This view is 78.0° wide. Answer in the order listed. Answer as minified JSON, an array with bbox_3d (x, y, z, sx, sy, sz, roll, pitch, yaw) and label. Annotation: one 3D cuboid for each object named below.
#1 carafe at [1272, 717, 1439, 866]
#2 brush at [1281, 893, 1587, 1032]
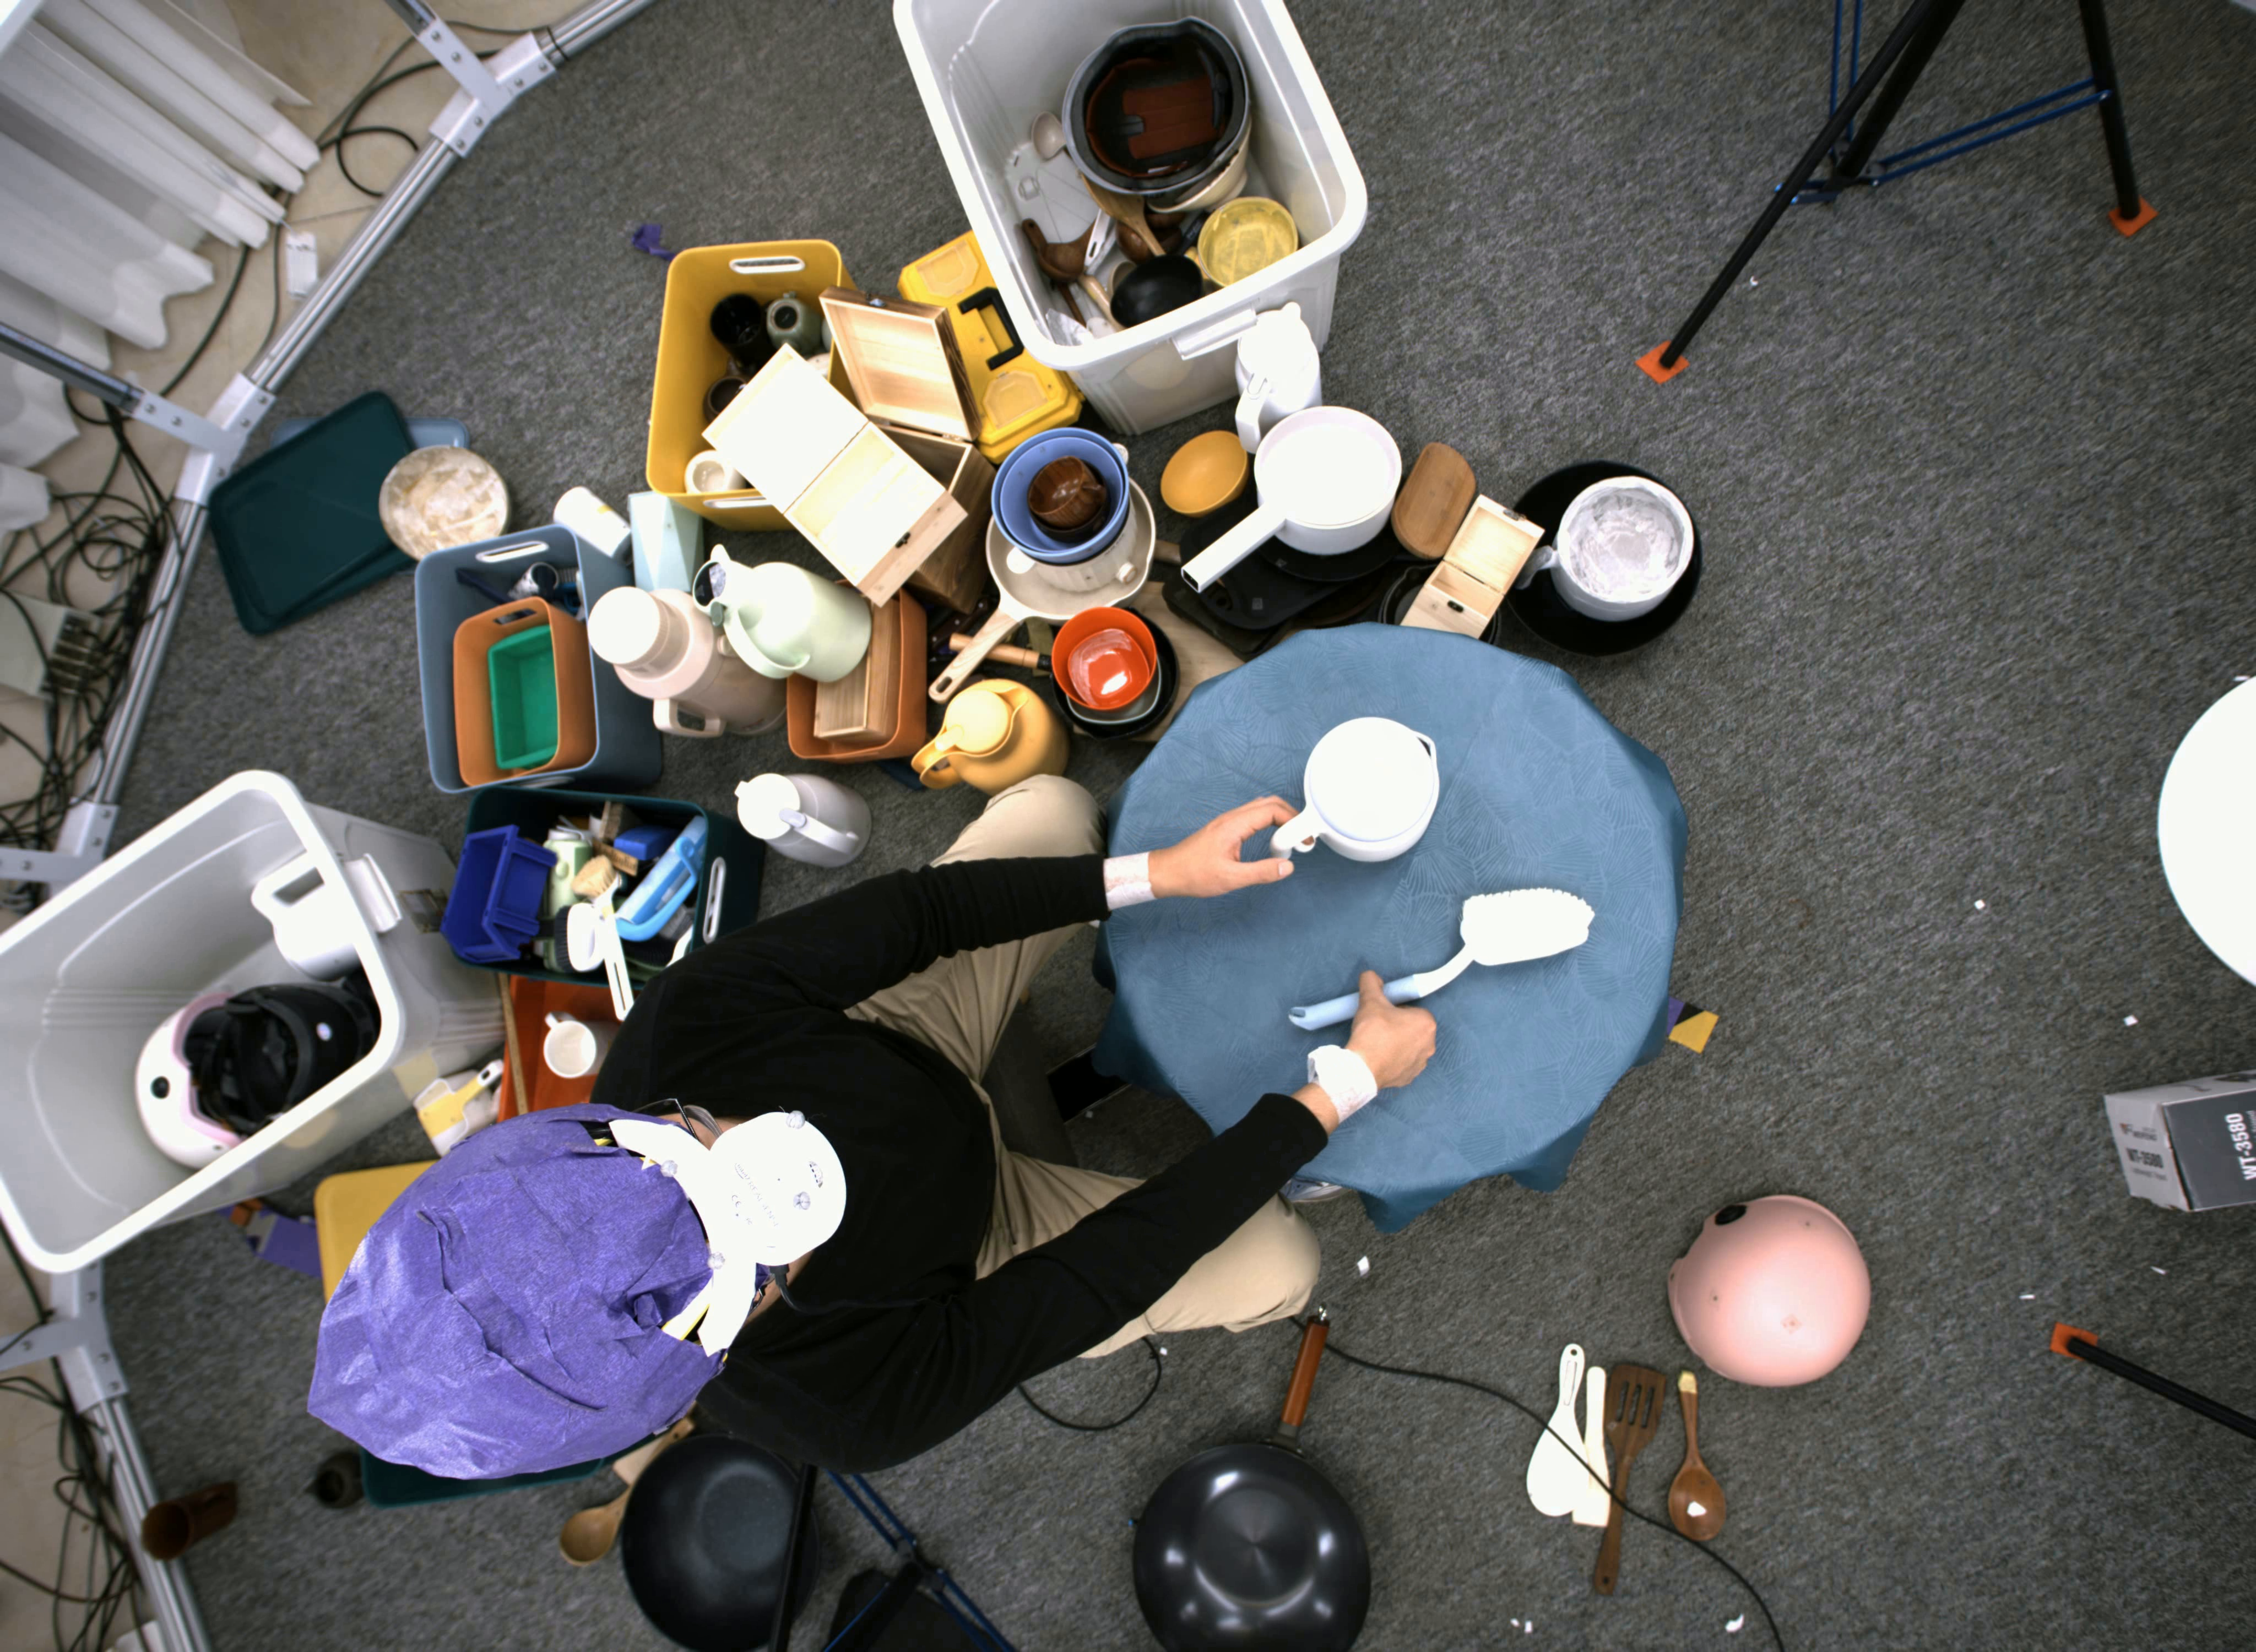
[{"bbox_3d":[0.223,-0.023,1.387,0.192,0.182,0.131,-34,80,7],"label":"carafe"},{"bbox_3d":[0.307,0.131,1.406,0.327,0.083,0.084,-17,88,7],"label":"brush"}]
